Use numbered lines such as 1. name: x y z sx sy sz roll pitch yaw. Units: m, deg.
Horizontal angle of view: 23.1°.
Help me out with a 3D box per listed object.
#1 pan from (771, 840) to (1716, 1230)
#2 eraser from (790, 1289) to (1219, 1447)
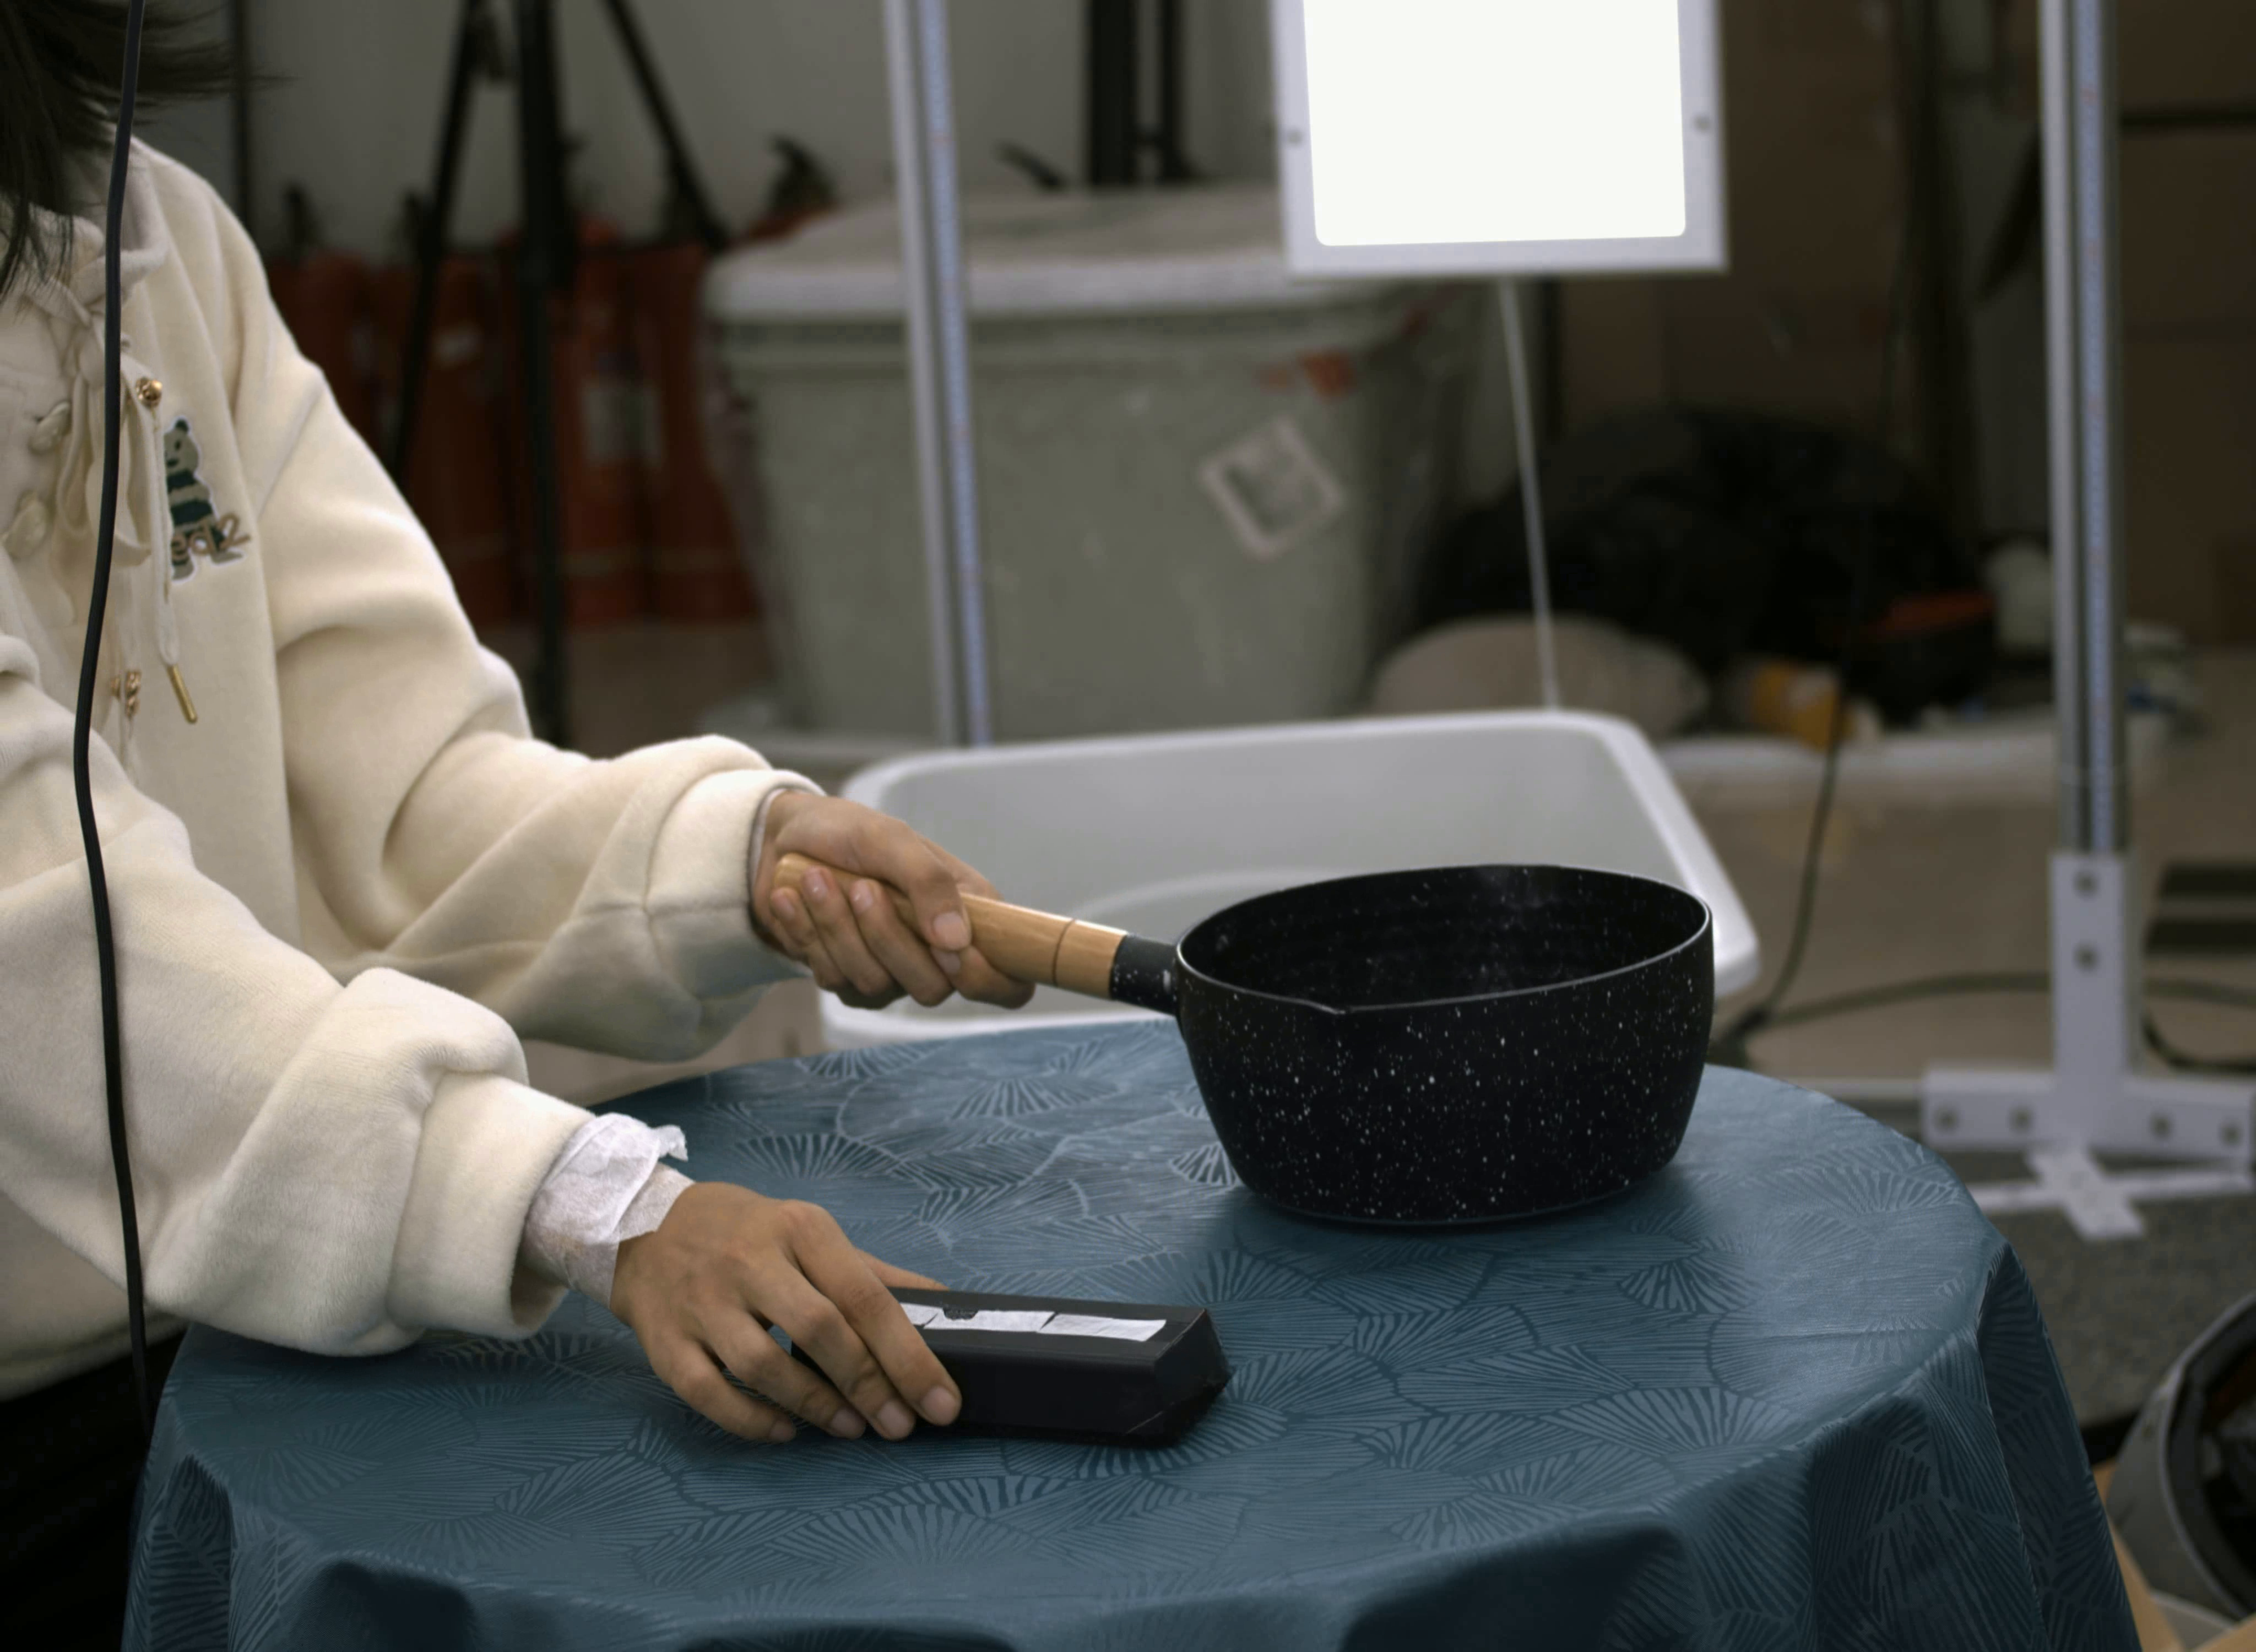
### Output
1. pan: 0.035 0.063 1.905 0.347 0.108 0.204 1 14 21
2. eraser: -0.037 0.165 1.690 0.127 0.030 0.052 2 16 24
